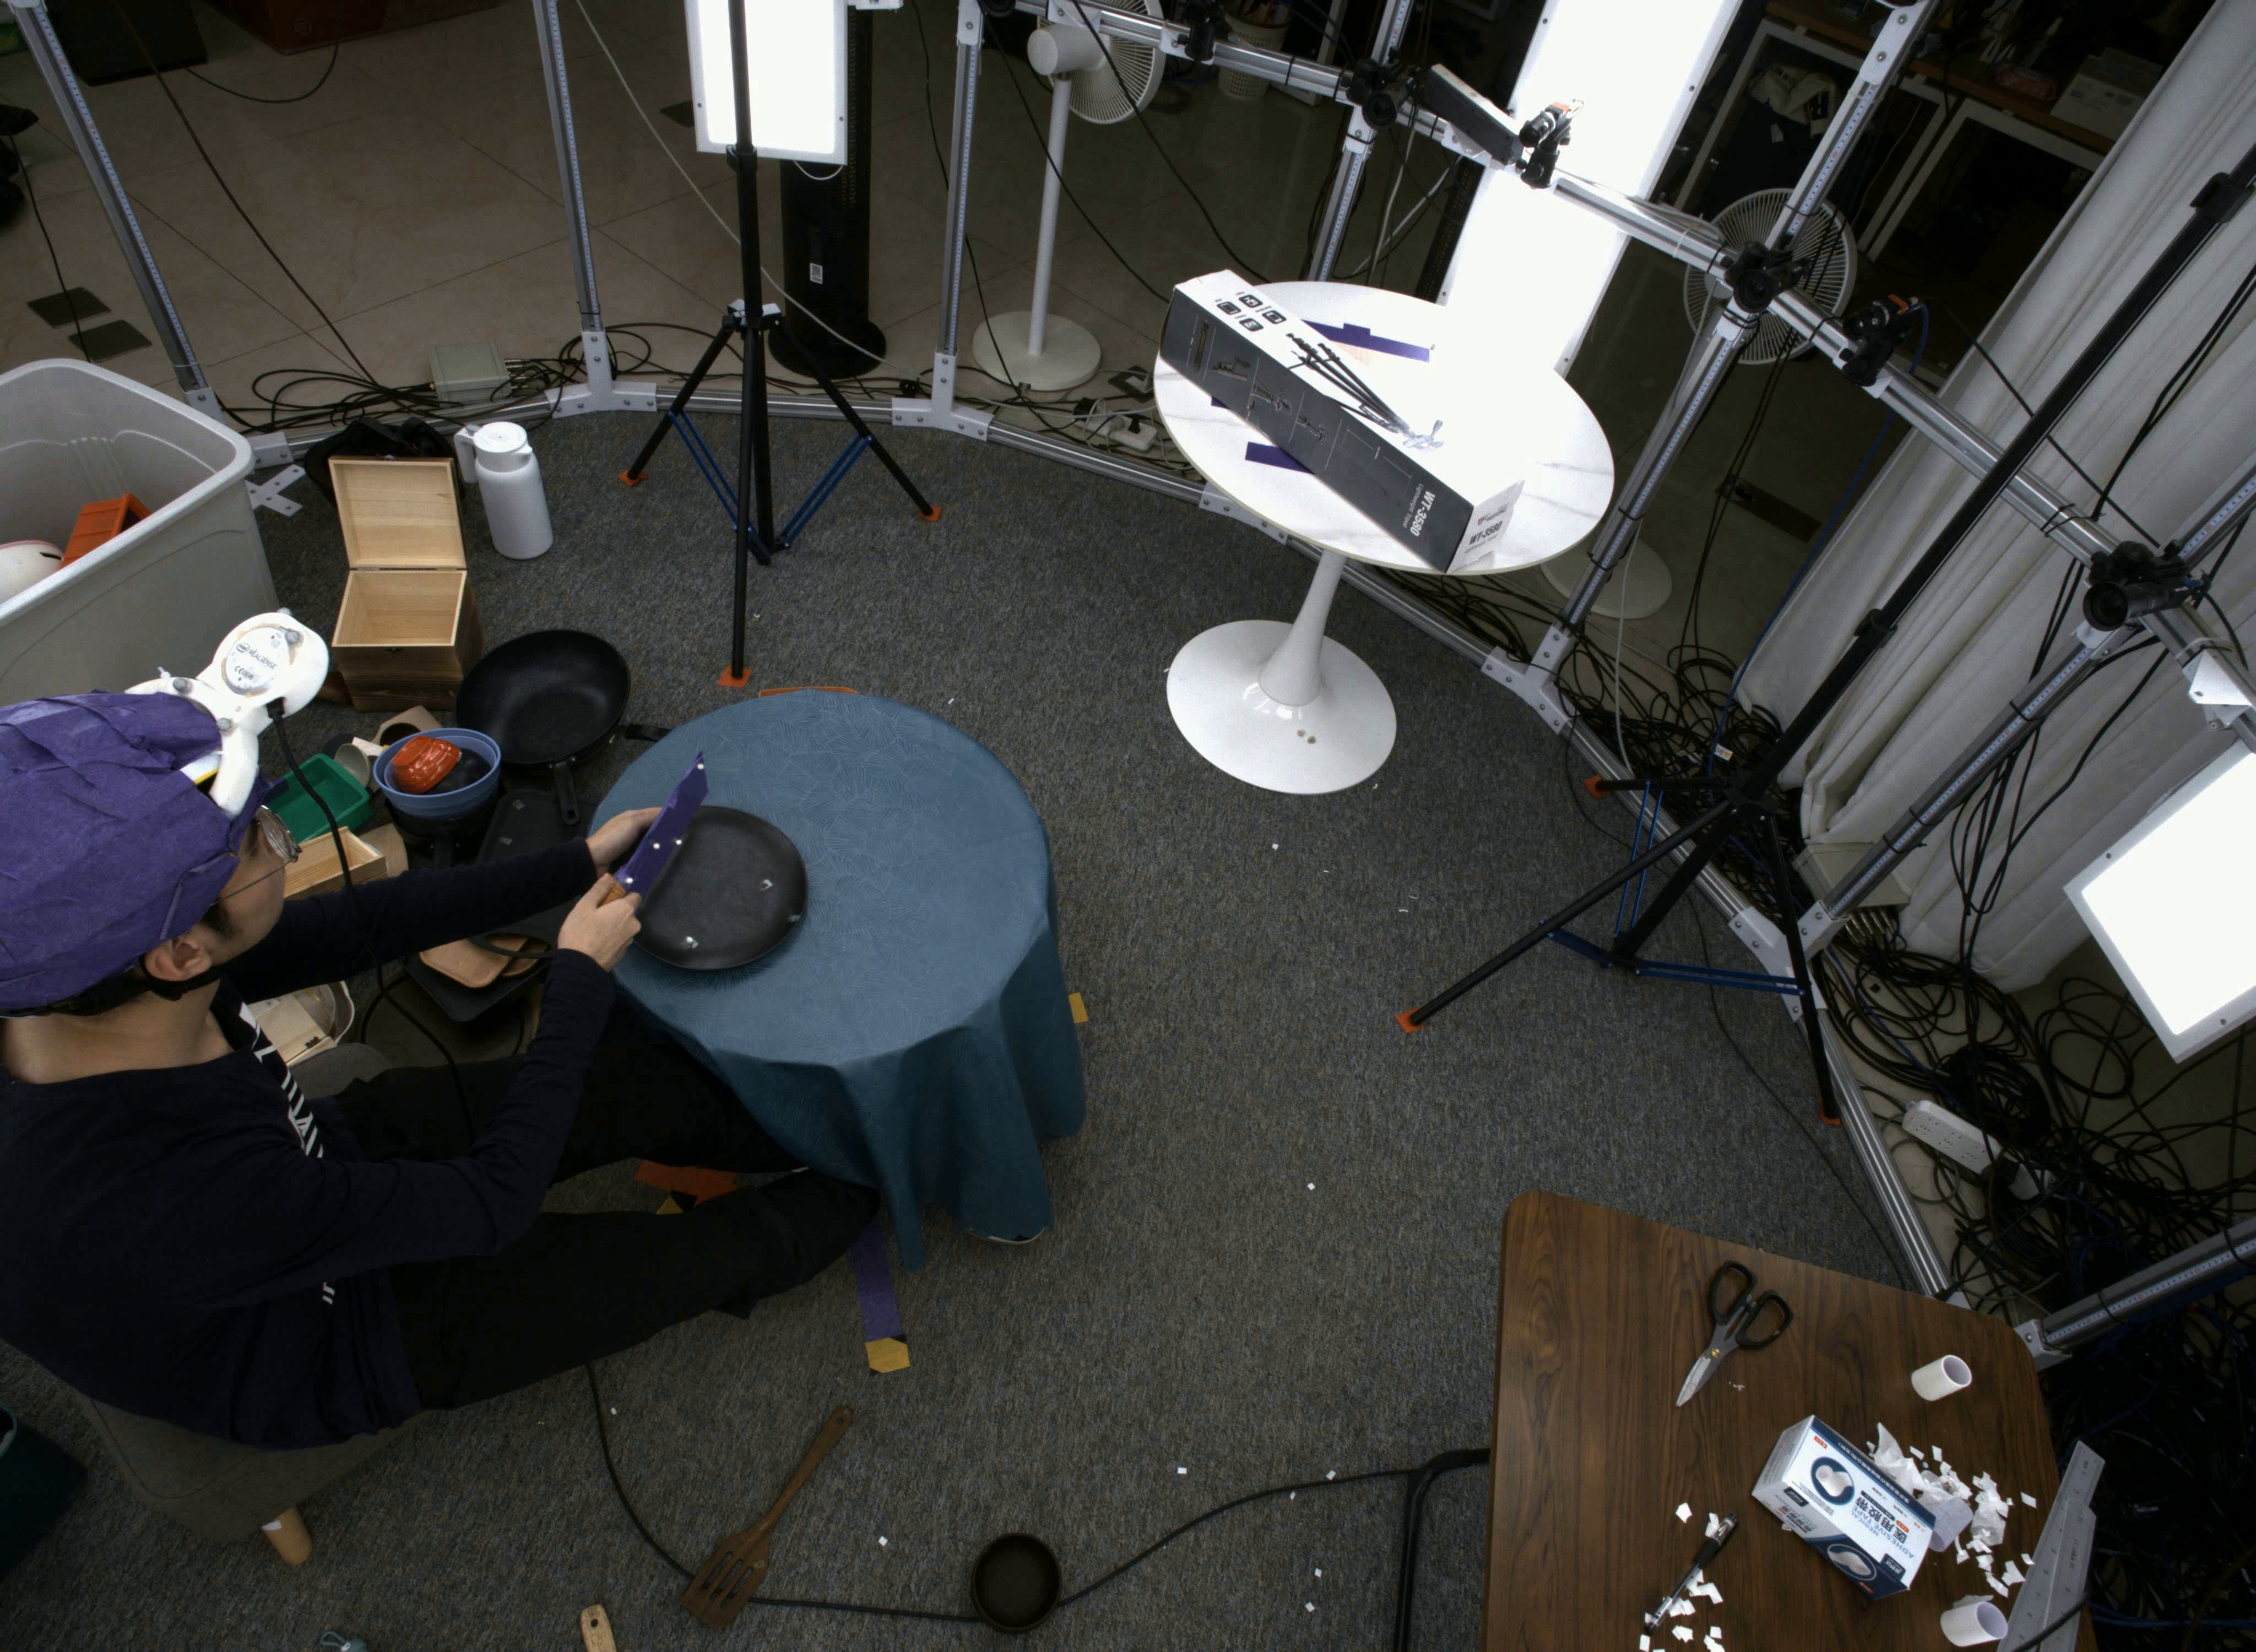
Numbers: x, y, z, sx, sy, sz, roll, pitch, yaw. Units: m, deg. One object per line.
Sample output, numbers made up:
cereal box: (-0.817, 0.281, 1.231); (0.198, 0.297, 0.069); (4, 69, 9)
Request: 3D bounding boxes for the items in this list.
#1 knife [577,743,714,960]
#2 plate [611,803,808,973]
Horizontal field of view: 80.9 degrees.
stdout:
knife: (-0.574, 0.042, 1.550); (0.032, 0.106, 0.312); (18, 53, 4)
plate: (-0.526, 0.076, 1.622); (0.246, 0.023, 0.240); (12, 55, -16)
